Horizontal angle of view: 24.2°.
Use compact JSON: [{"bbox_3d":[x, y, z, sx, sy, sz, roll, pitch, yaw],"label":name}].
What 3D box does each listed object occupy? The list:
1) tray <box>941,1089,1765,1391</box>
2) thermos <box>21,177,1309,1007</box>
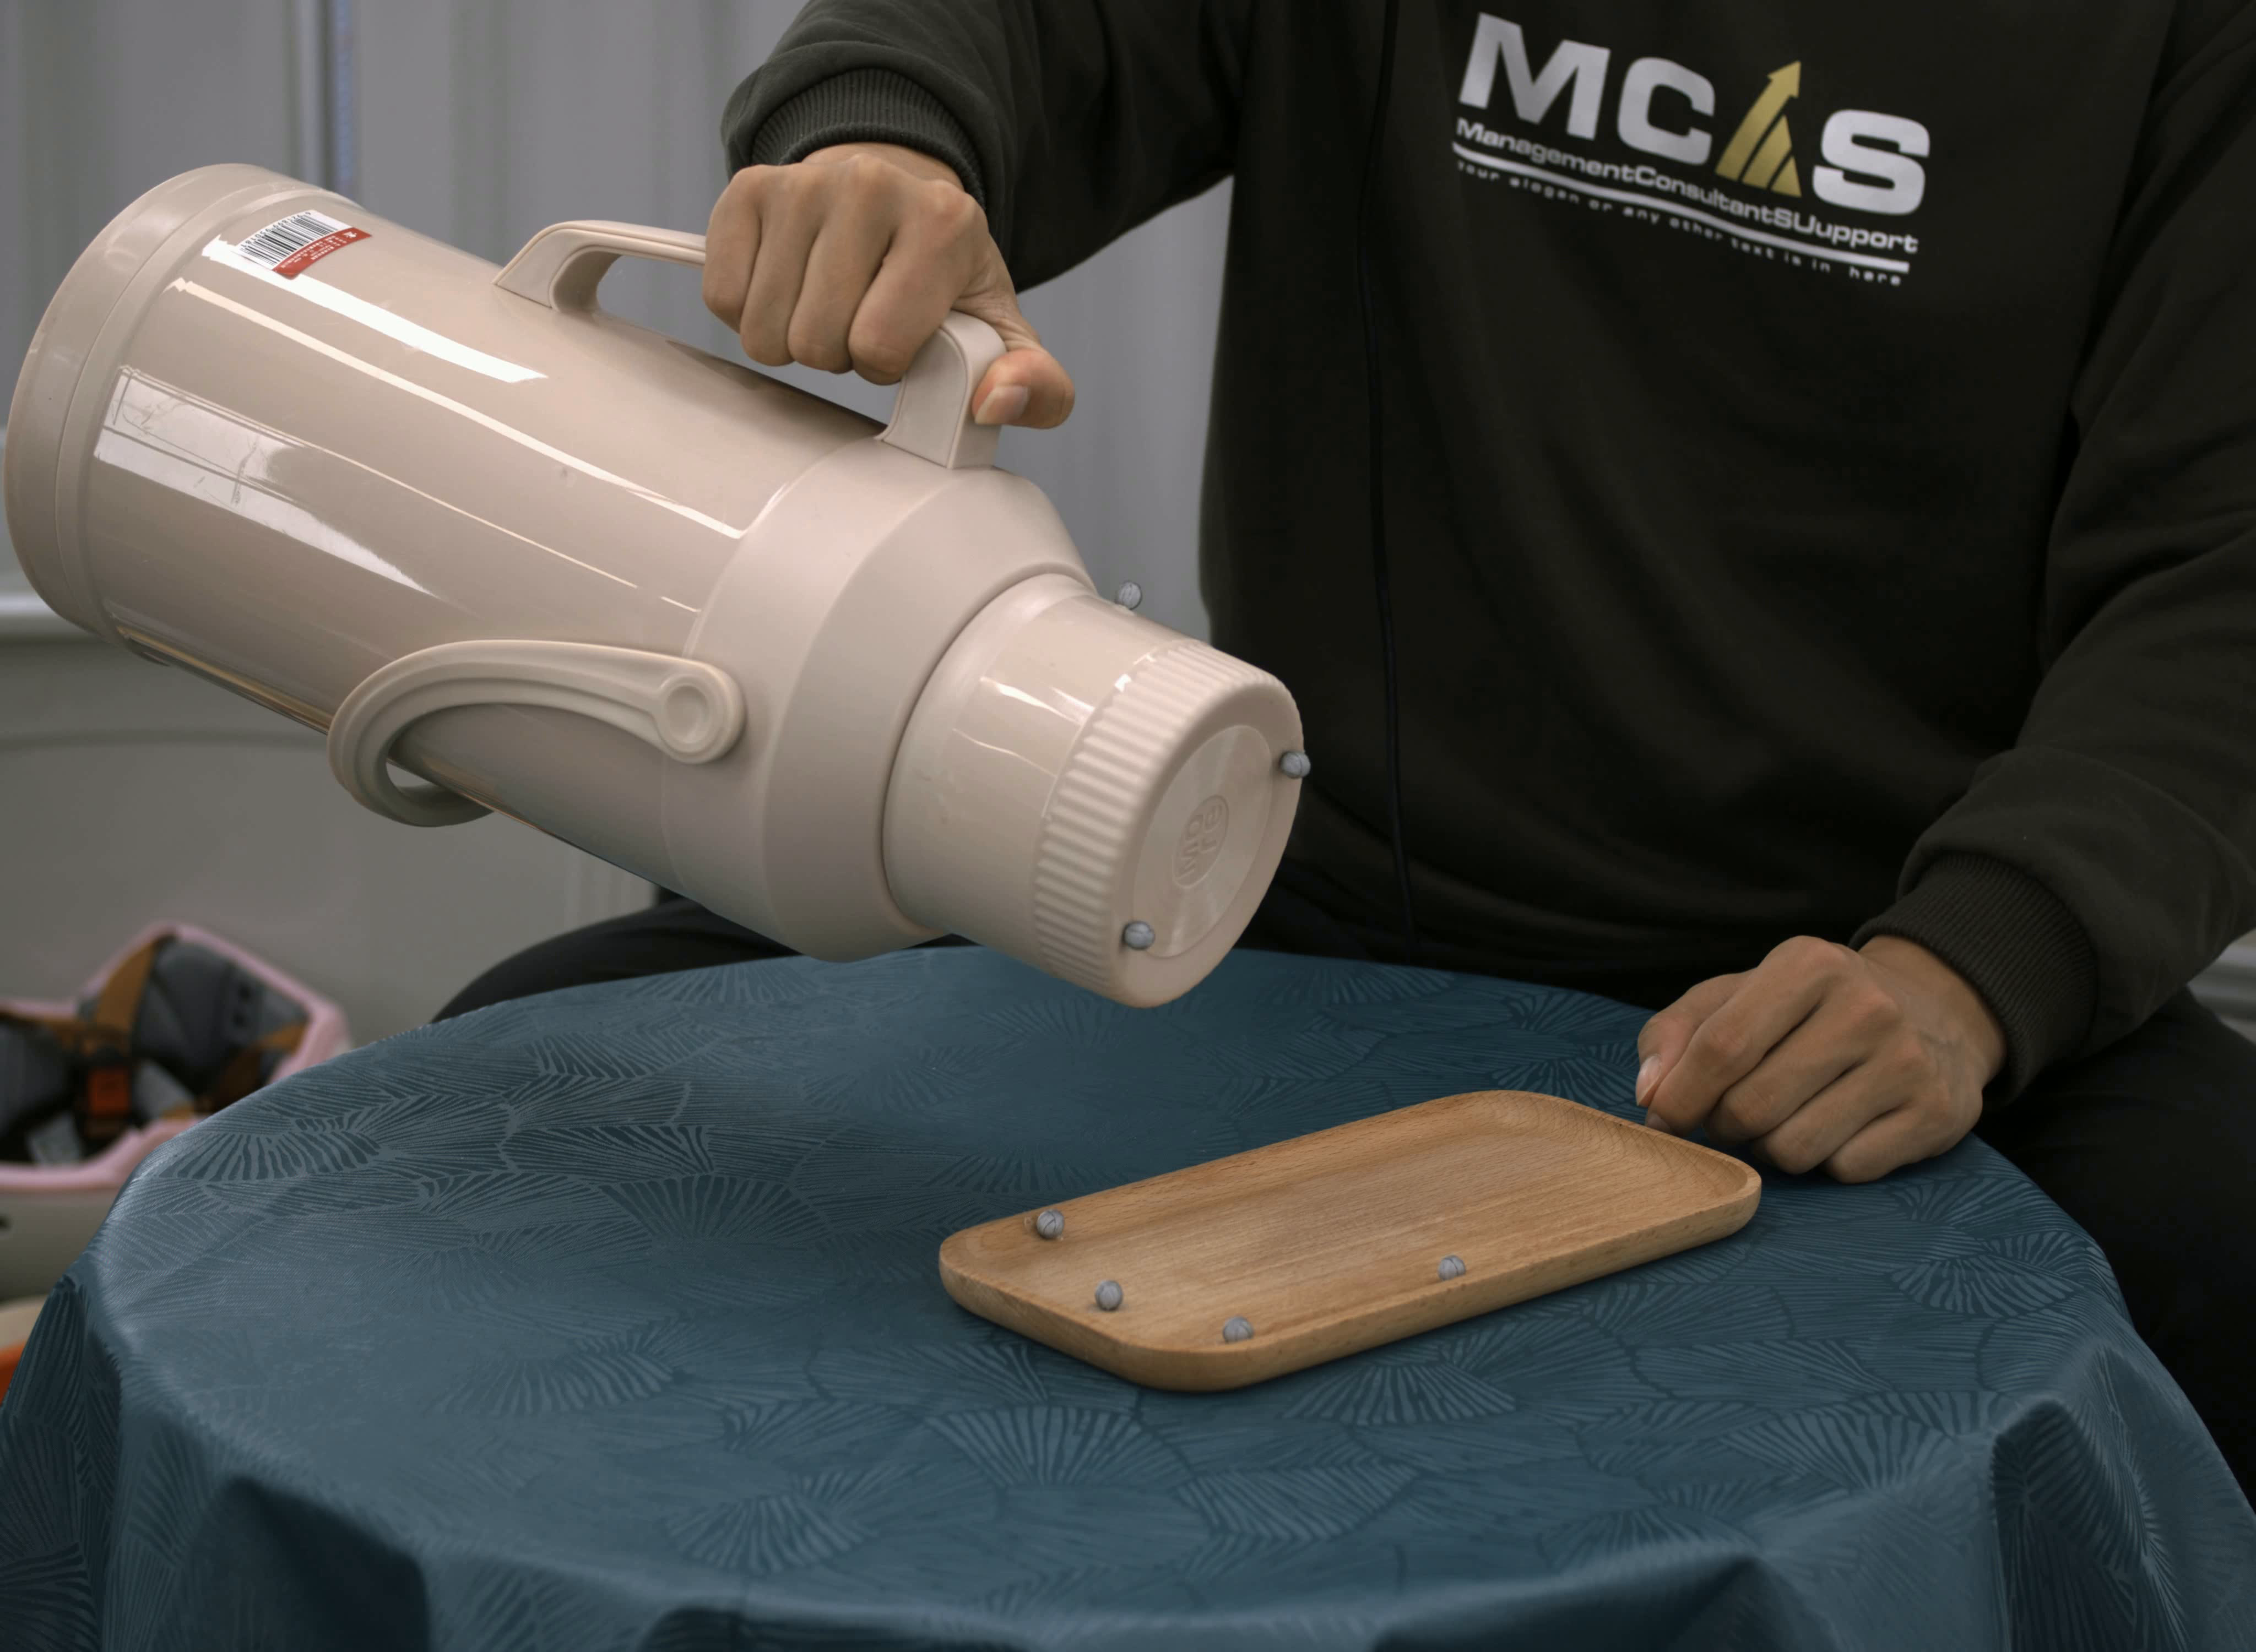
[{"bbox_3d":[0.070,0.121,1.573,0.252,0.023,0.129,-11,22,-39],"label":"tray"},{"bbox_3d":[-0.135,-0.079,1.599,0.401,0.208,0.176,23,18,27],"label":"thermos"}]
